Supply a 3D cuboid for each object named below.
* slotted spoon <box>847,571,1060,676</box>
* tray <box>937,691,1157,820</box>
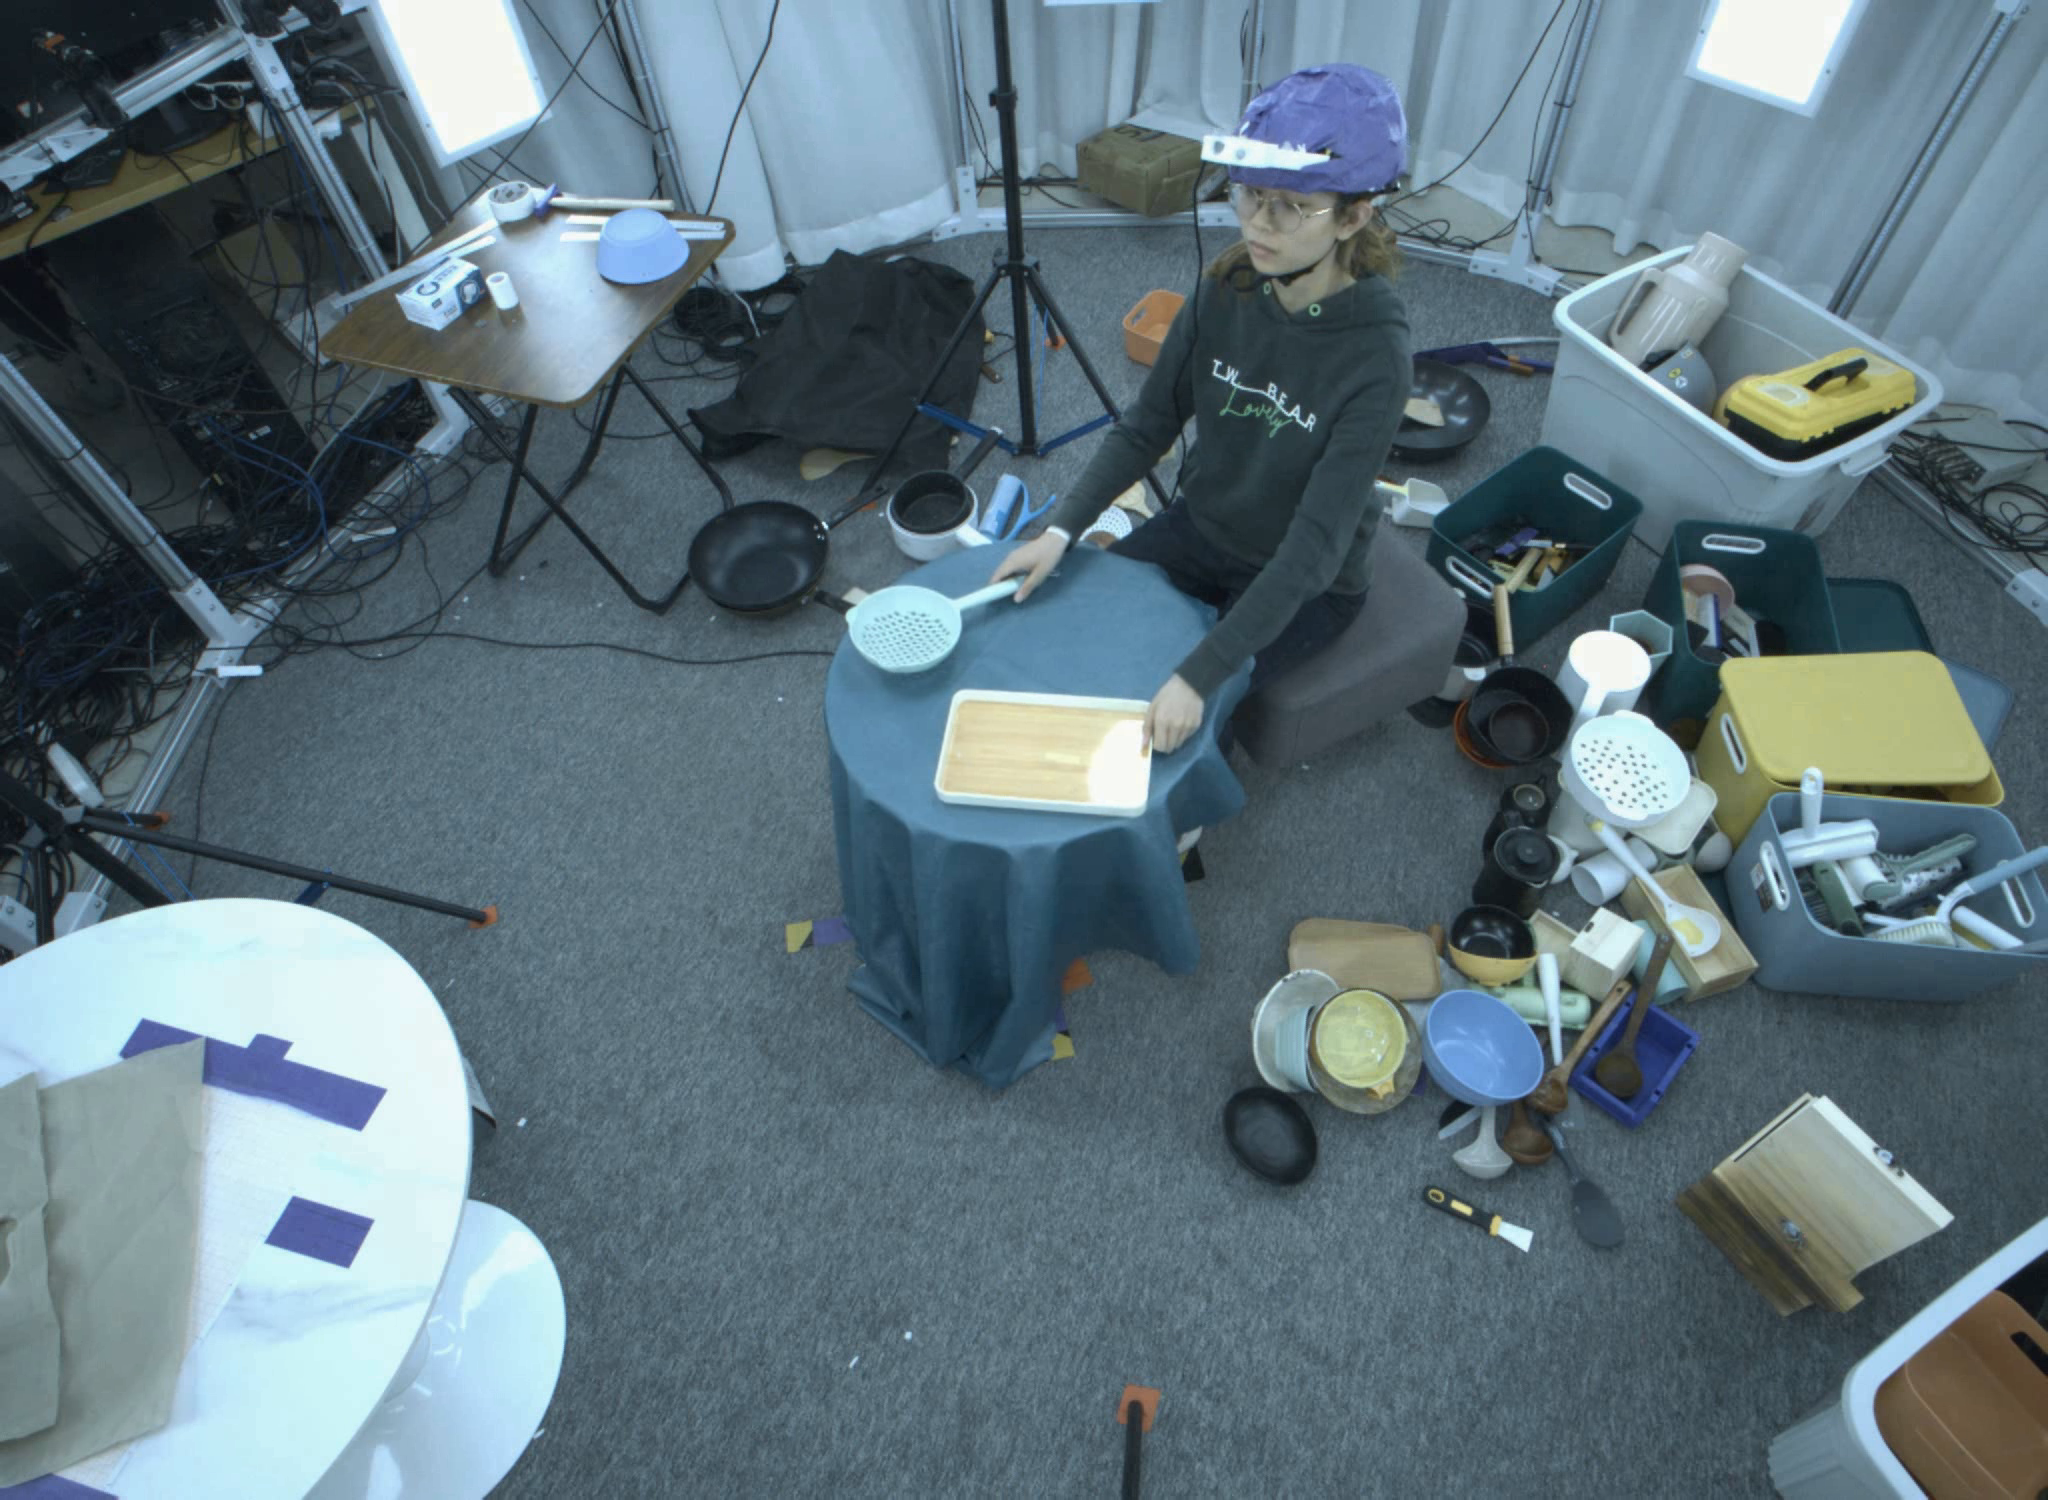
[{"bbox_3d":[-0.098,-0.217,1.912,0.361,0.076,0.166,-29,61,-17],"label":"slotted spoon"},{"bbox_3d":[0.036,0.006,1.777,0.299,0.028,0.190,5,55,5],"label":"tray"}]
